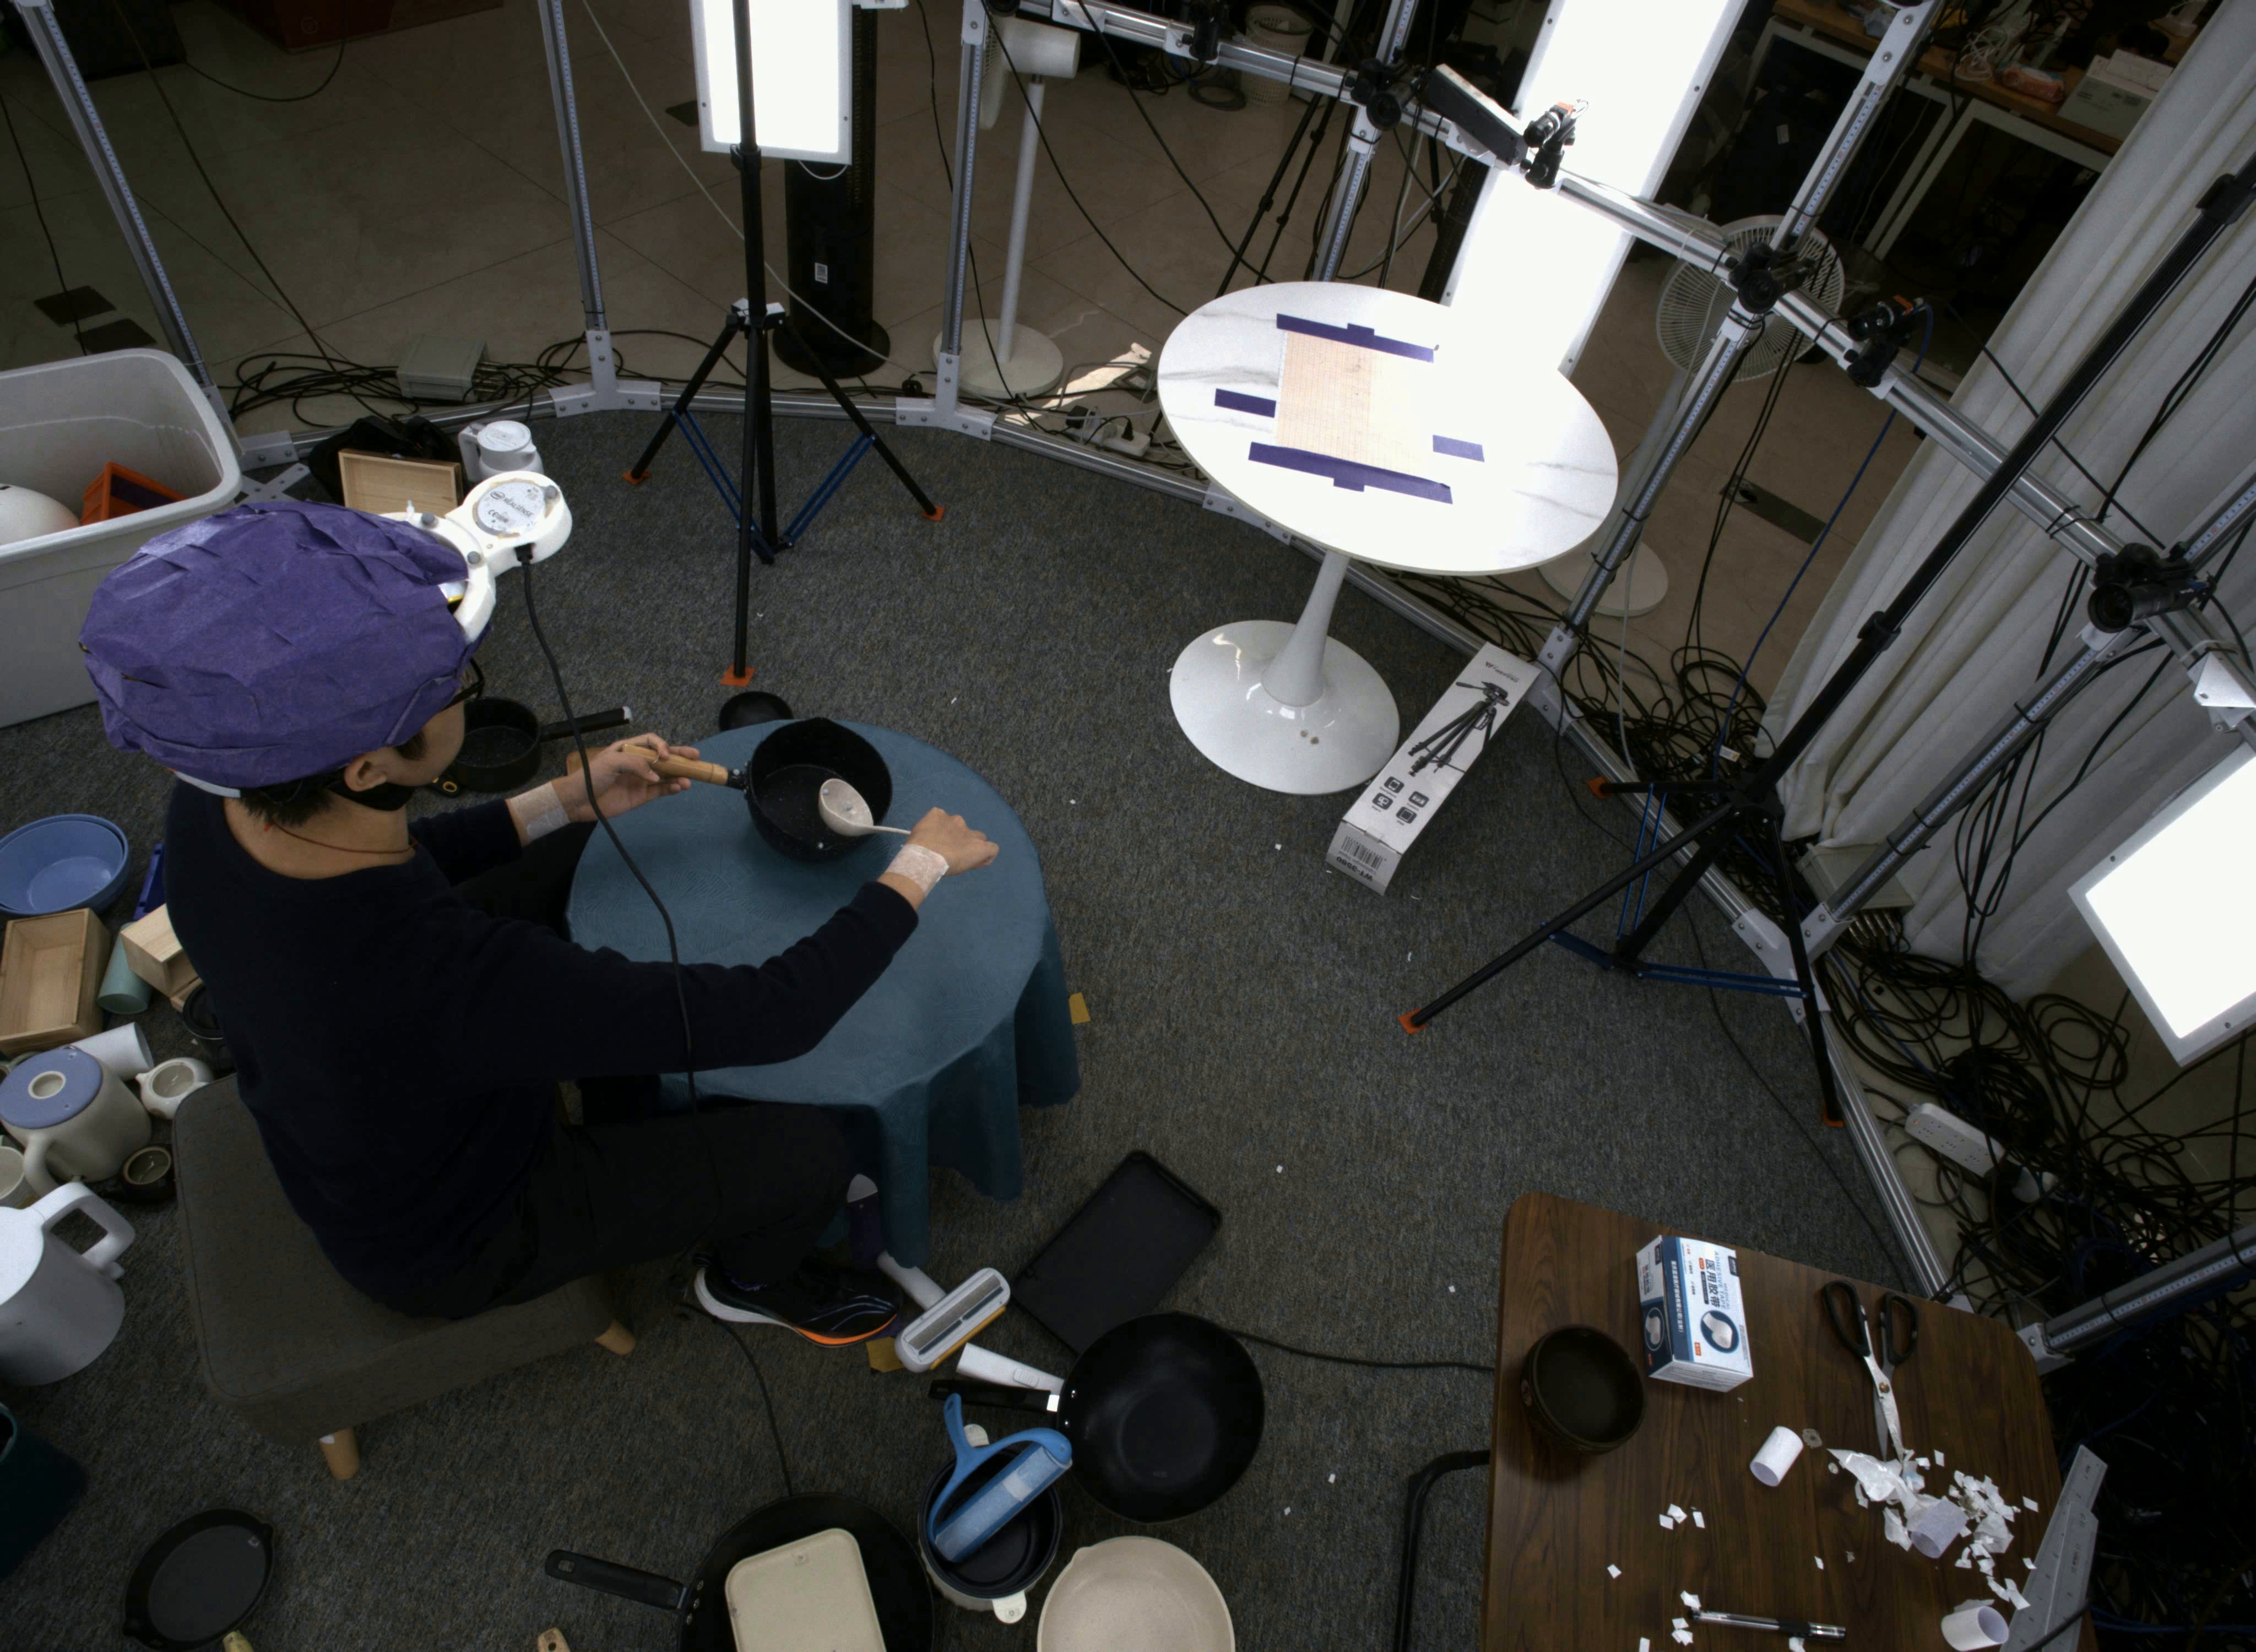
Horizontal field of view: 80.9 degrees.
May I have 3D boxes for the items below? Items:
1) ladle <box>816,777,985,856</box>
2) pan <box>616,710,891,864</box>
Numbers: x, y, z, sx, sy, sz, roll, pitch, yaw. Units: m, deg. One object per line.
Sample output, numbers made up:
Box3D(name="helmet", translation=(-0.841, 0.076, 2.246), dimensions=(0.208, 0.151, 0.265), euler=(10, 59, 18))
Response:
Box3D(name="ladle", translation=(-0.269, -0.014, 1.571), dimensions=(0.265, 0.092, 0.069), euler=(7, 76, 33))
Box3D(name="pan", translation=(-0.474, -0.051, 1.630), dimensions=(0.348, 0.108, 0.204), euler=(5, 60, -27))
